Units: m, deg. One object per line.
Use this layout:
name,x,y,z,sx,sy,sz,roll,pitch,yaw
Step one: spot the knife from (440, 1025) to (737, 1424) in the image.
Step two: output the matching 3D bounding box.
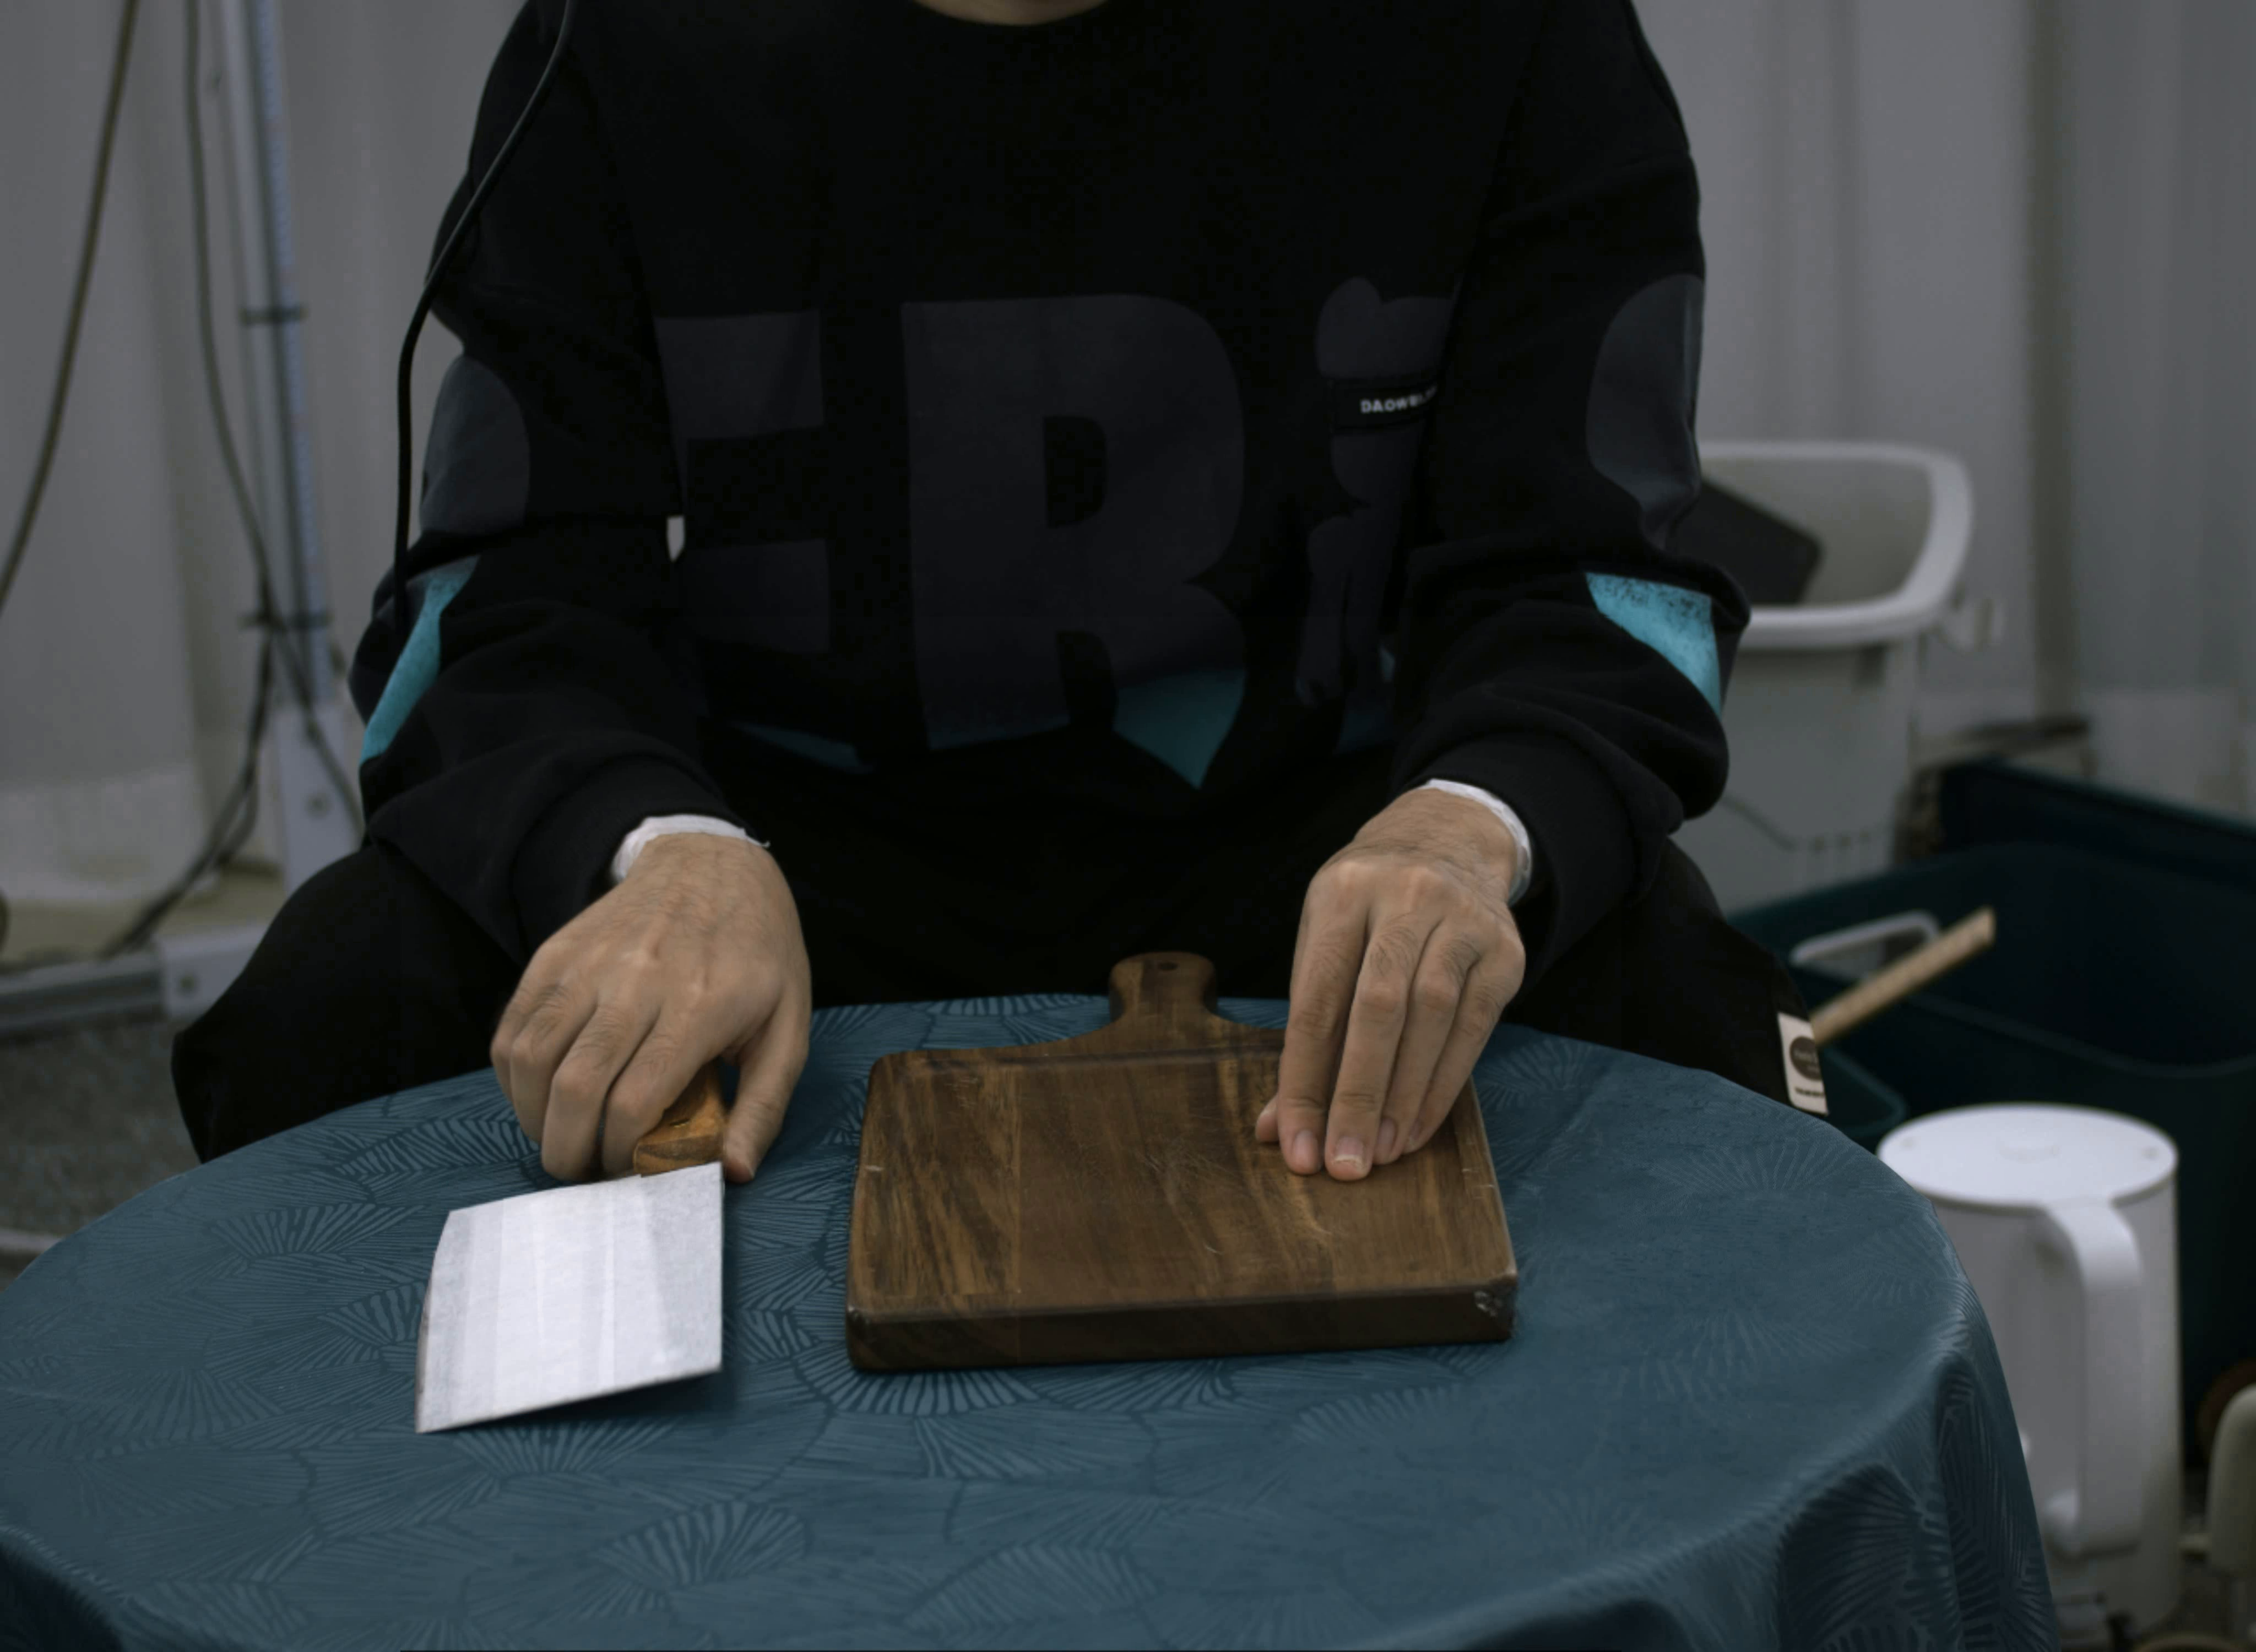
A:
knife,-0.167,0.122,1.688,0.092,0.021,0.308,-12,16,-1

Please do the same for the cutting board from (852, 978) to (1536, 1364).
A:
cutting board,0.015,0.103,1.732,0.200,0.023,0.354,-2,13,0
